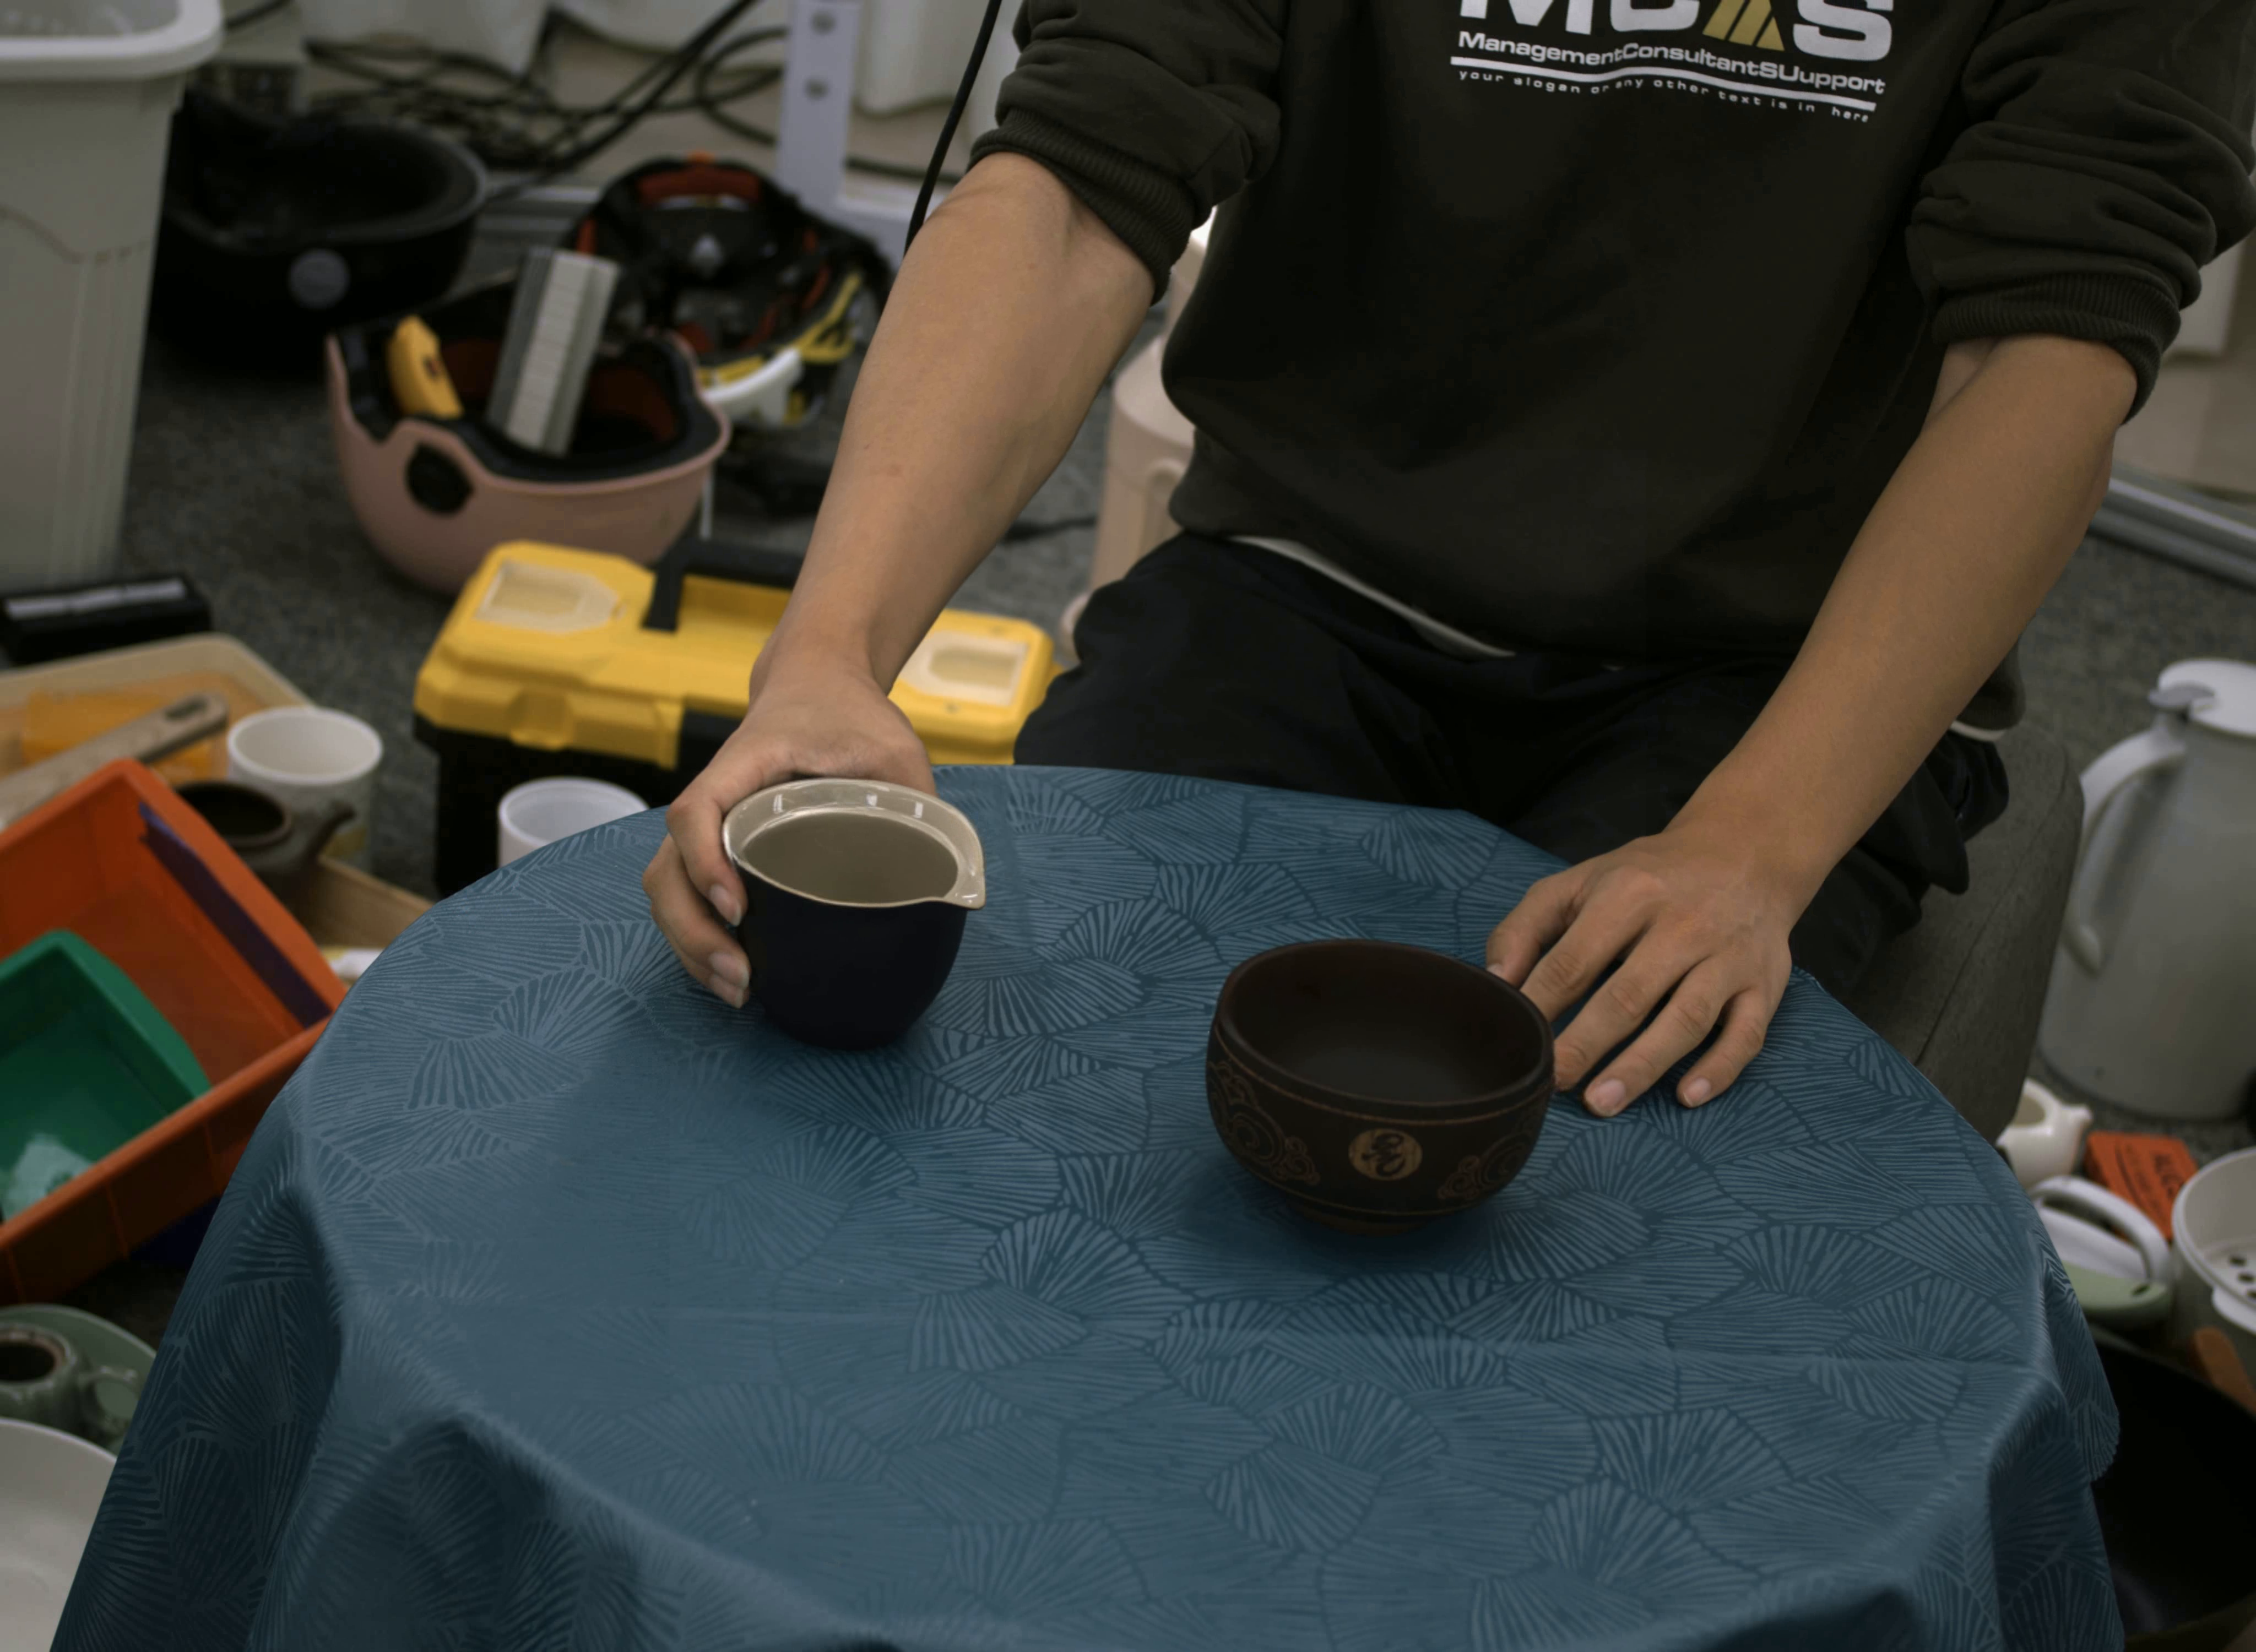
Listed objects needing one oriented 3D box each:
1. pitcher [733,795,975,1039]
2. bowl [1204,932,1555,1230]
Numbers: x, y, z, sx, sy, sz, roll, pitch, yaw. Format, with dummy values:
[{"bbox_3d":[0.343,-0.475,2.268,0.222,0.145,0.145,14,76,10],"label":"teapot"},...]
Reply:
[{"bbox_3d":[-0.095,0.034,1.875,0.096,0.071,0.083,27,32,34],"label":"pitcher"},{"bbox_3d":[0.083,0.094,1.807,0.117,0.069,0.119,4,28,-2],"label":"bowl"}]
